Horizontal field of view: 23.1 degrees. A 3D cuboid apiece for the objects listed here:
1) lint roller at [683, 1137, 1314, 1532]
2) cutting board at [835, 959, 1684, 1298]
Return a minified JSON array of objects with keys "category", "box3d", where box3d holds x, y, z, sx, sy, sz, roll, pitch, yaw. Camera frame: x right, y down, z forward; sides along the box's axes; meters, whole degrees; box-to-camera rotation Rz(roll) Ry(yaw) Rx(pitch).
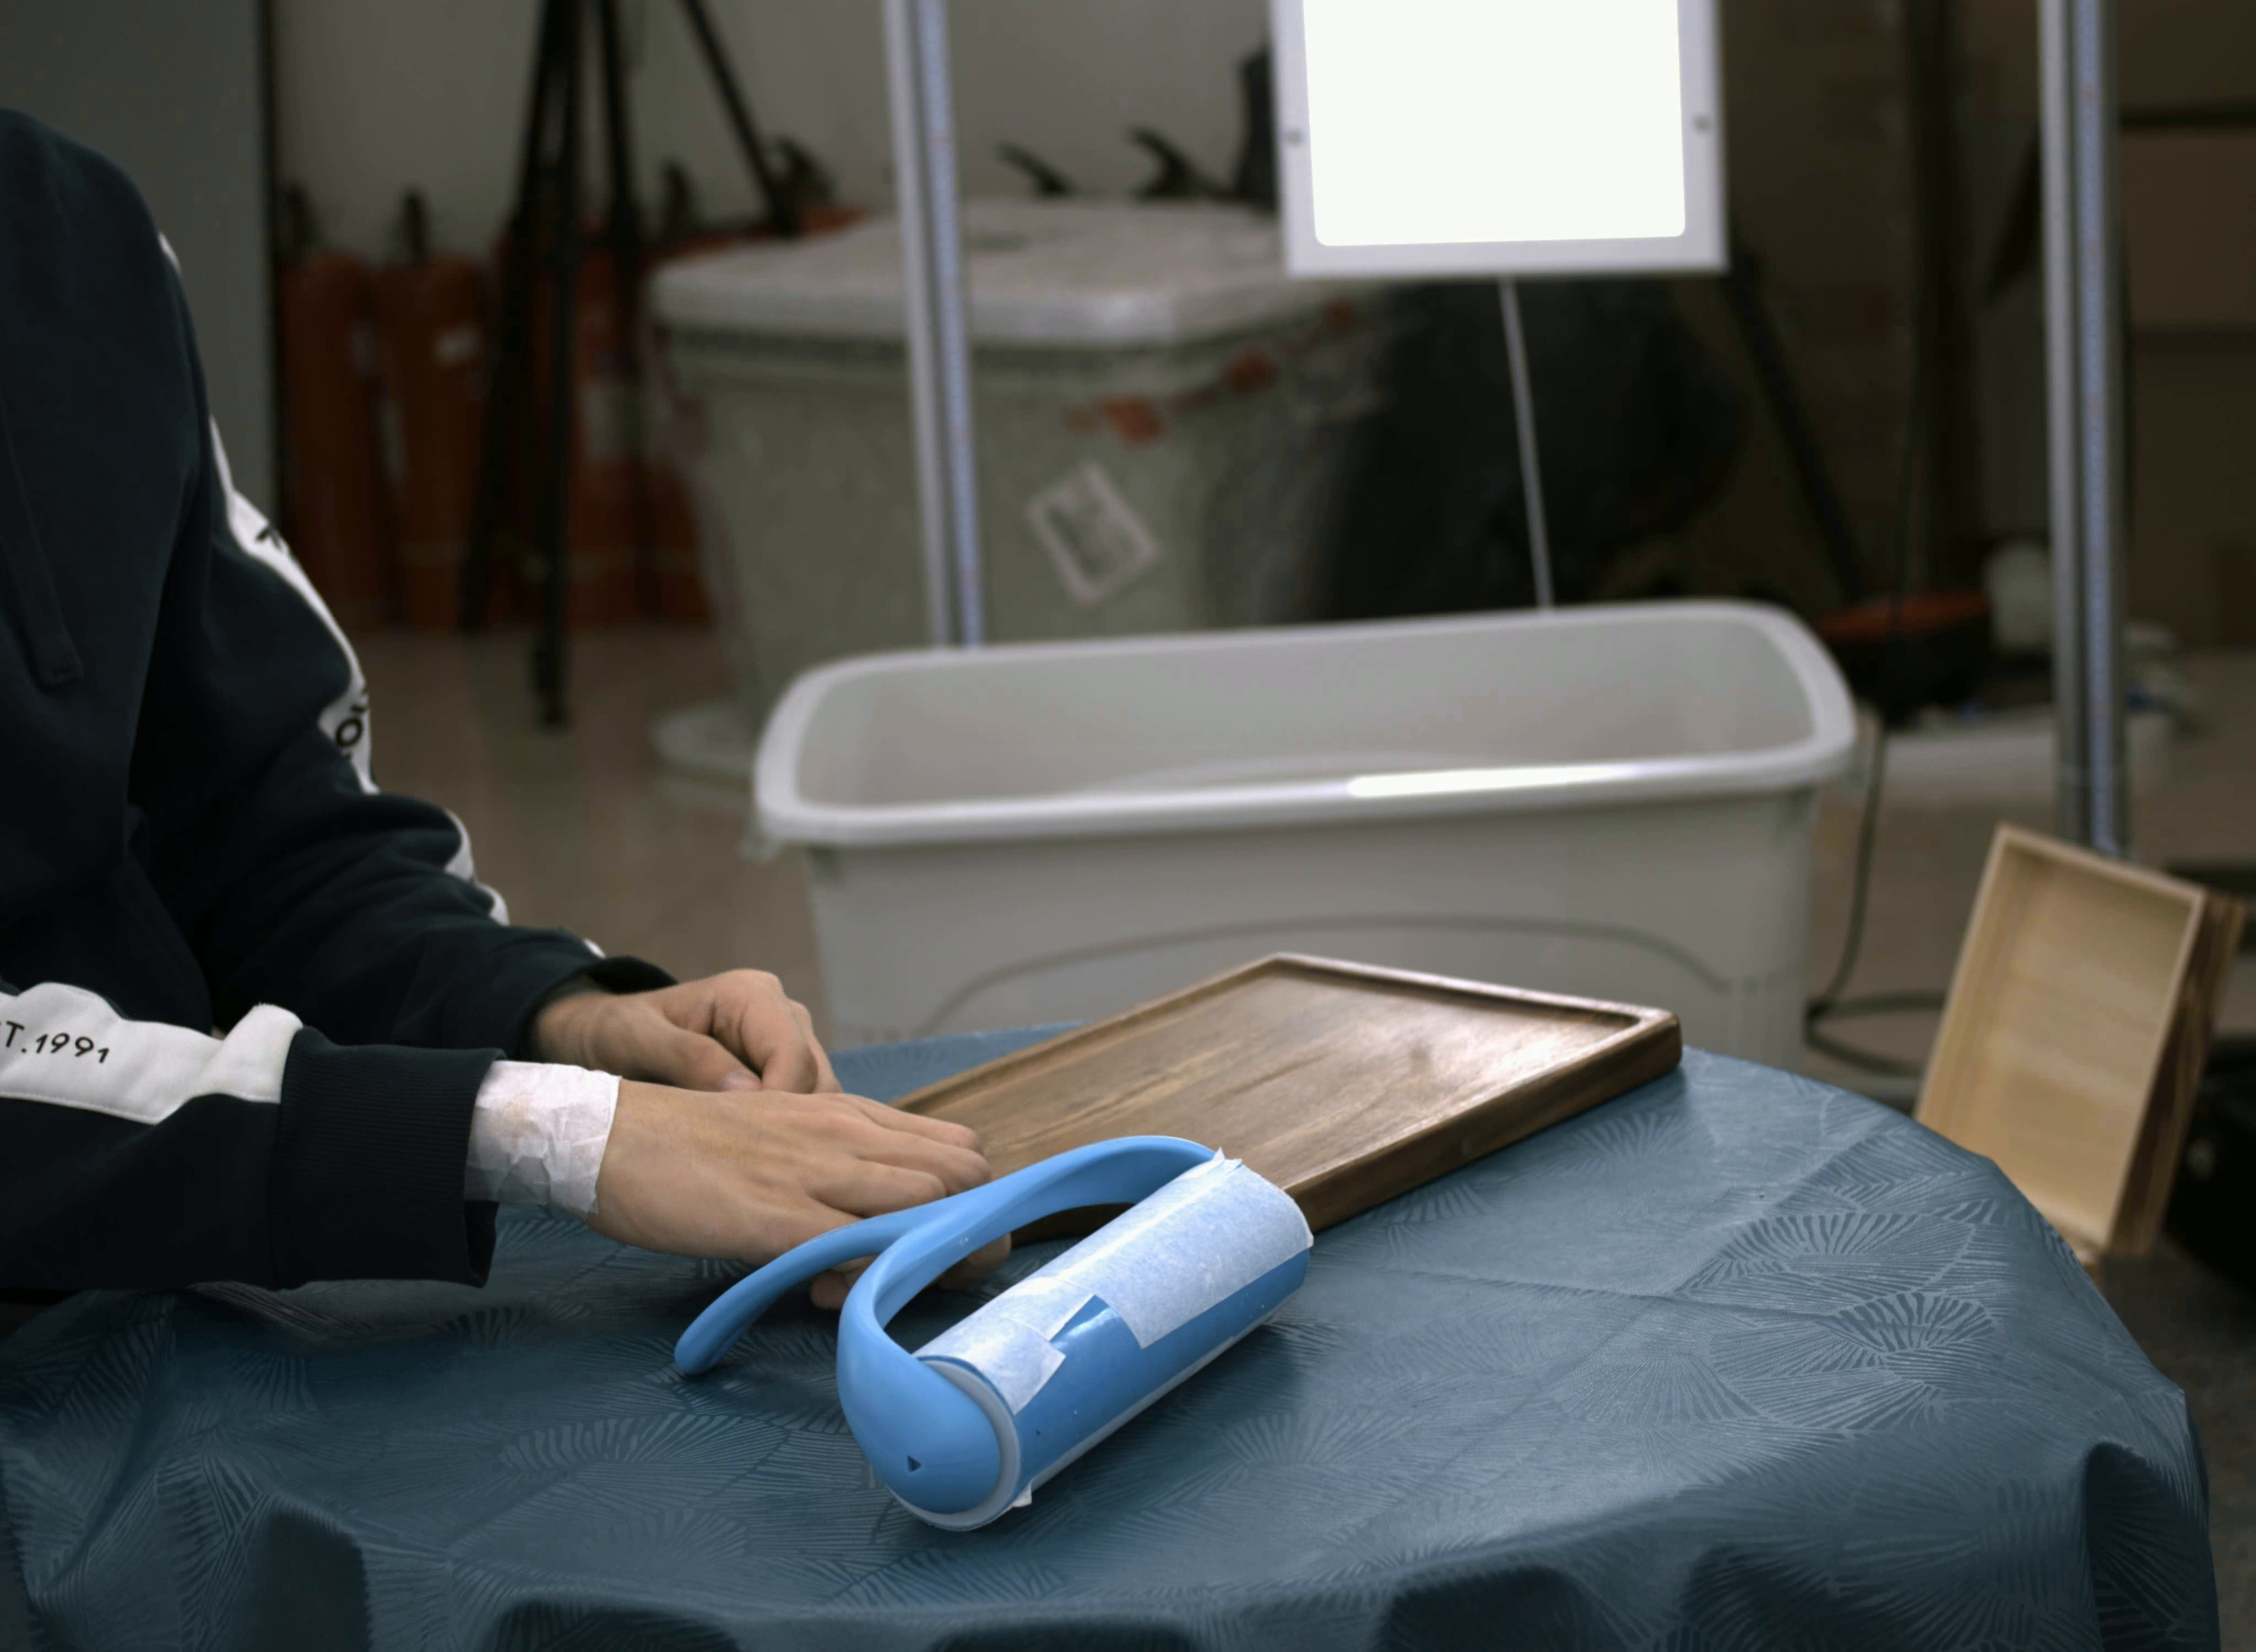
[{"category":"lint roller","box3d":[-0.061,0.151,1.698,0.183,0.068,0.224,3,18,26]},{"category":"cutting board","box3d":[0.020,0.106,1.925,0.205,0.023,0.343,6,18,40]}]
